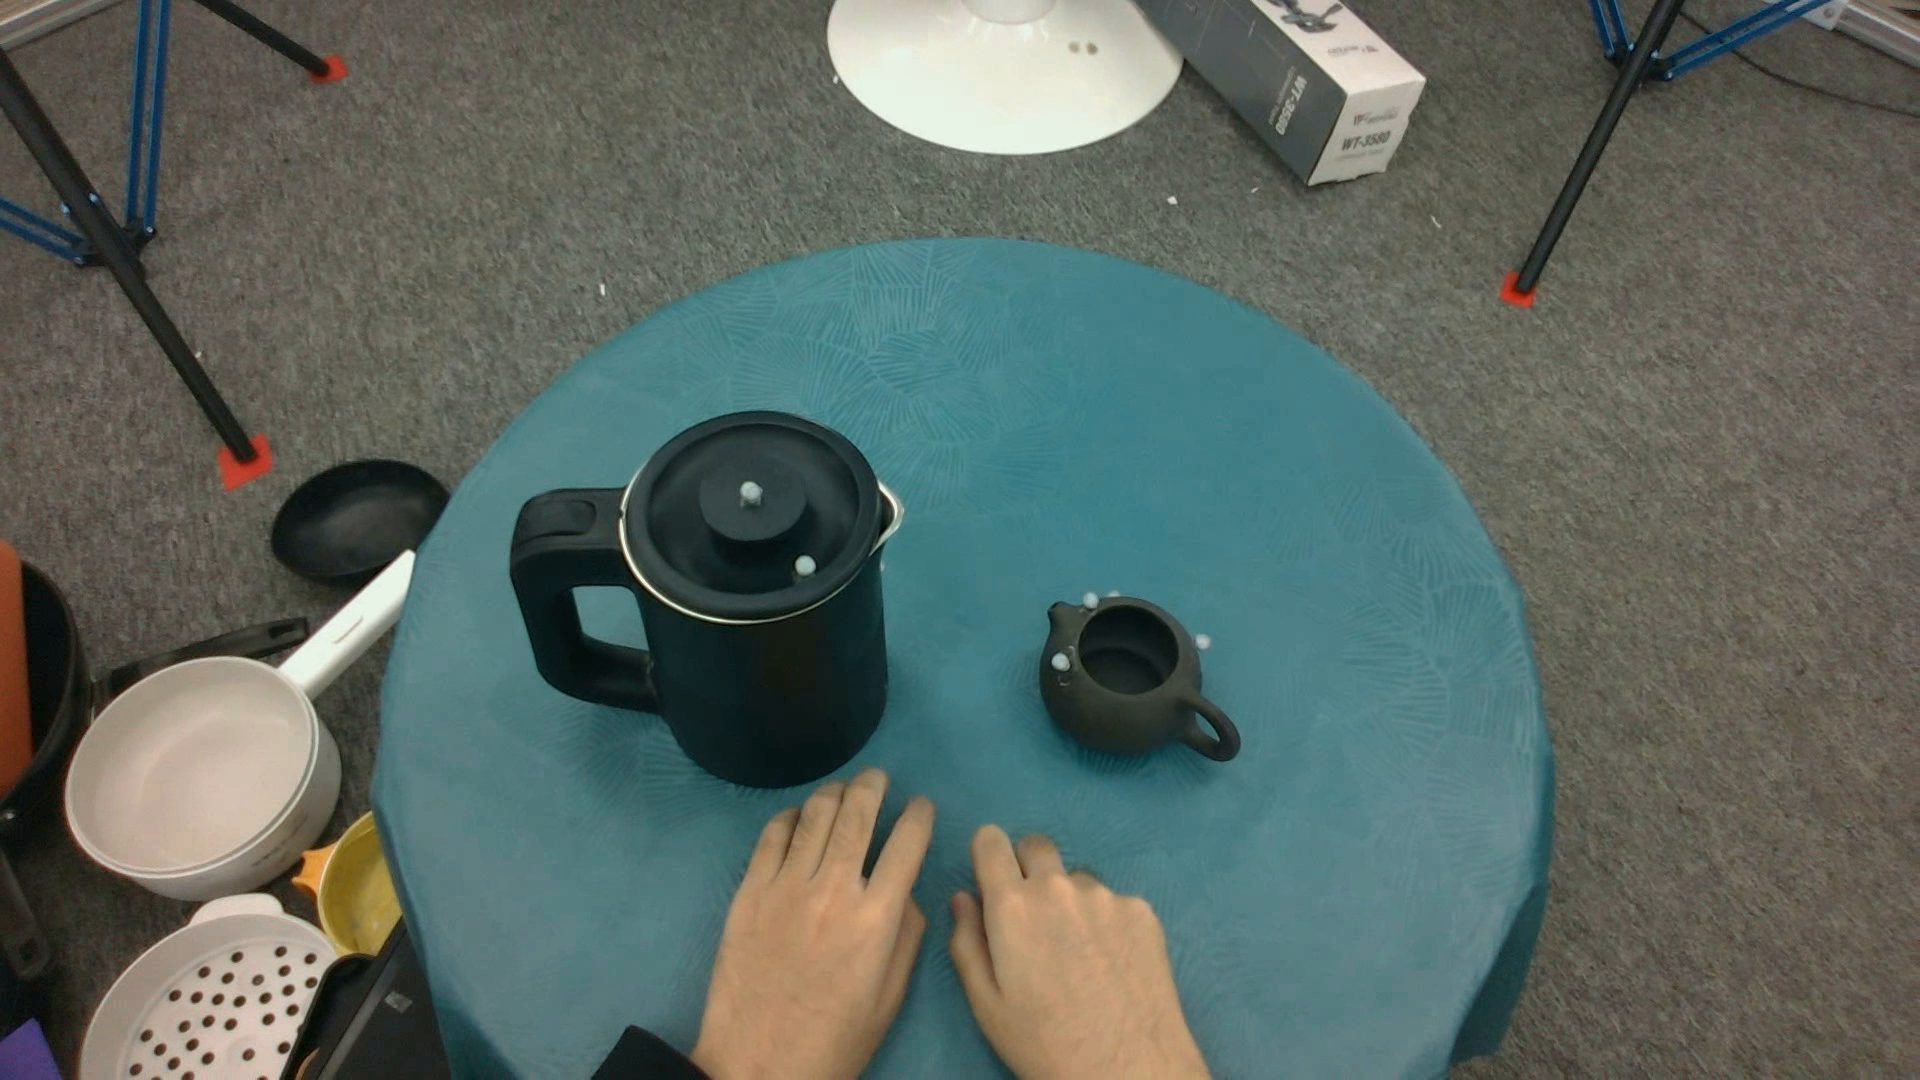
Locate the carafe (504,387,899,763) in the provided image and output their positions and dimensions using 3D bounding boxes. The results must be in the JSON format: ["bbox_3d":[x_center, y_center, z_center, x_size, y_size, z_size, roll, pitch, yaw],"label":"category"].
[{"bbox_3d":[-0.117,0.019,0.633,0.172,0.172,0.115,-1,58,-6],"label":"carafe"}]

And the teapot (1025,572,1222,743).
[{"bbox_3d":[0.083,0.062,0.686,0.114,0.053,0.083,37,63,23],"label":"teapot"}]
